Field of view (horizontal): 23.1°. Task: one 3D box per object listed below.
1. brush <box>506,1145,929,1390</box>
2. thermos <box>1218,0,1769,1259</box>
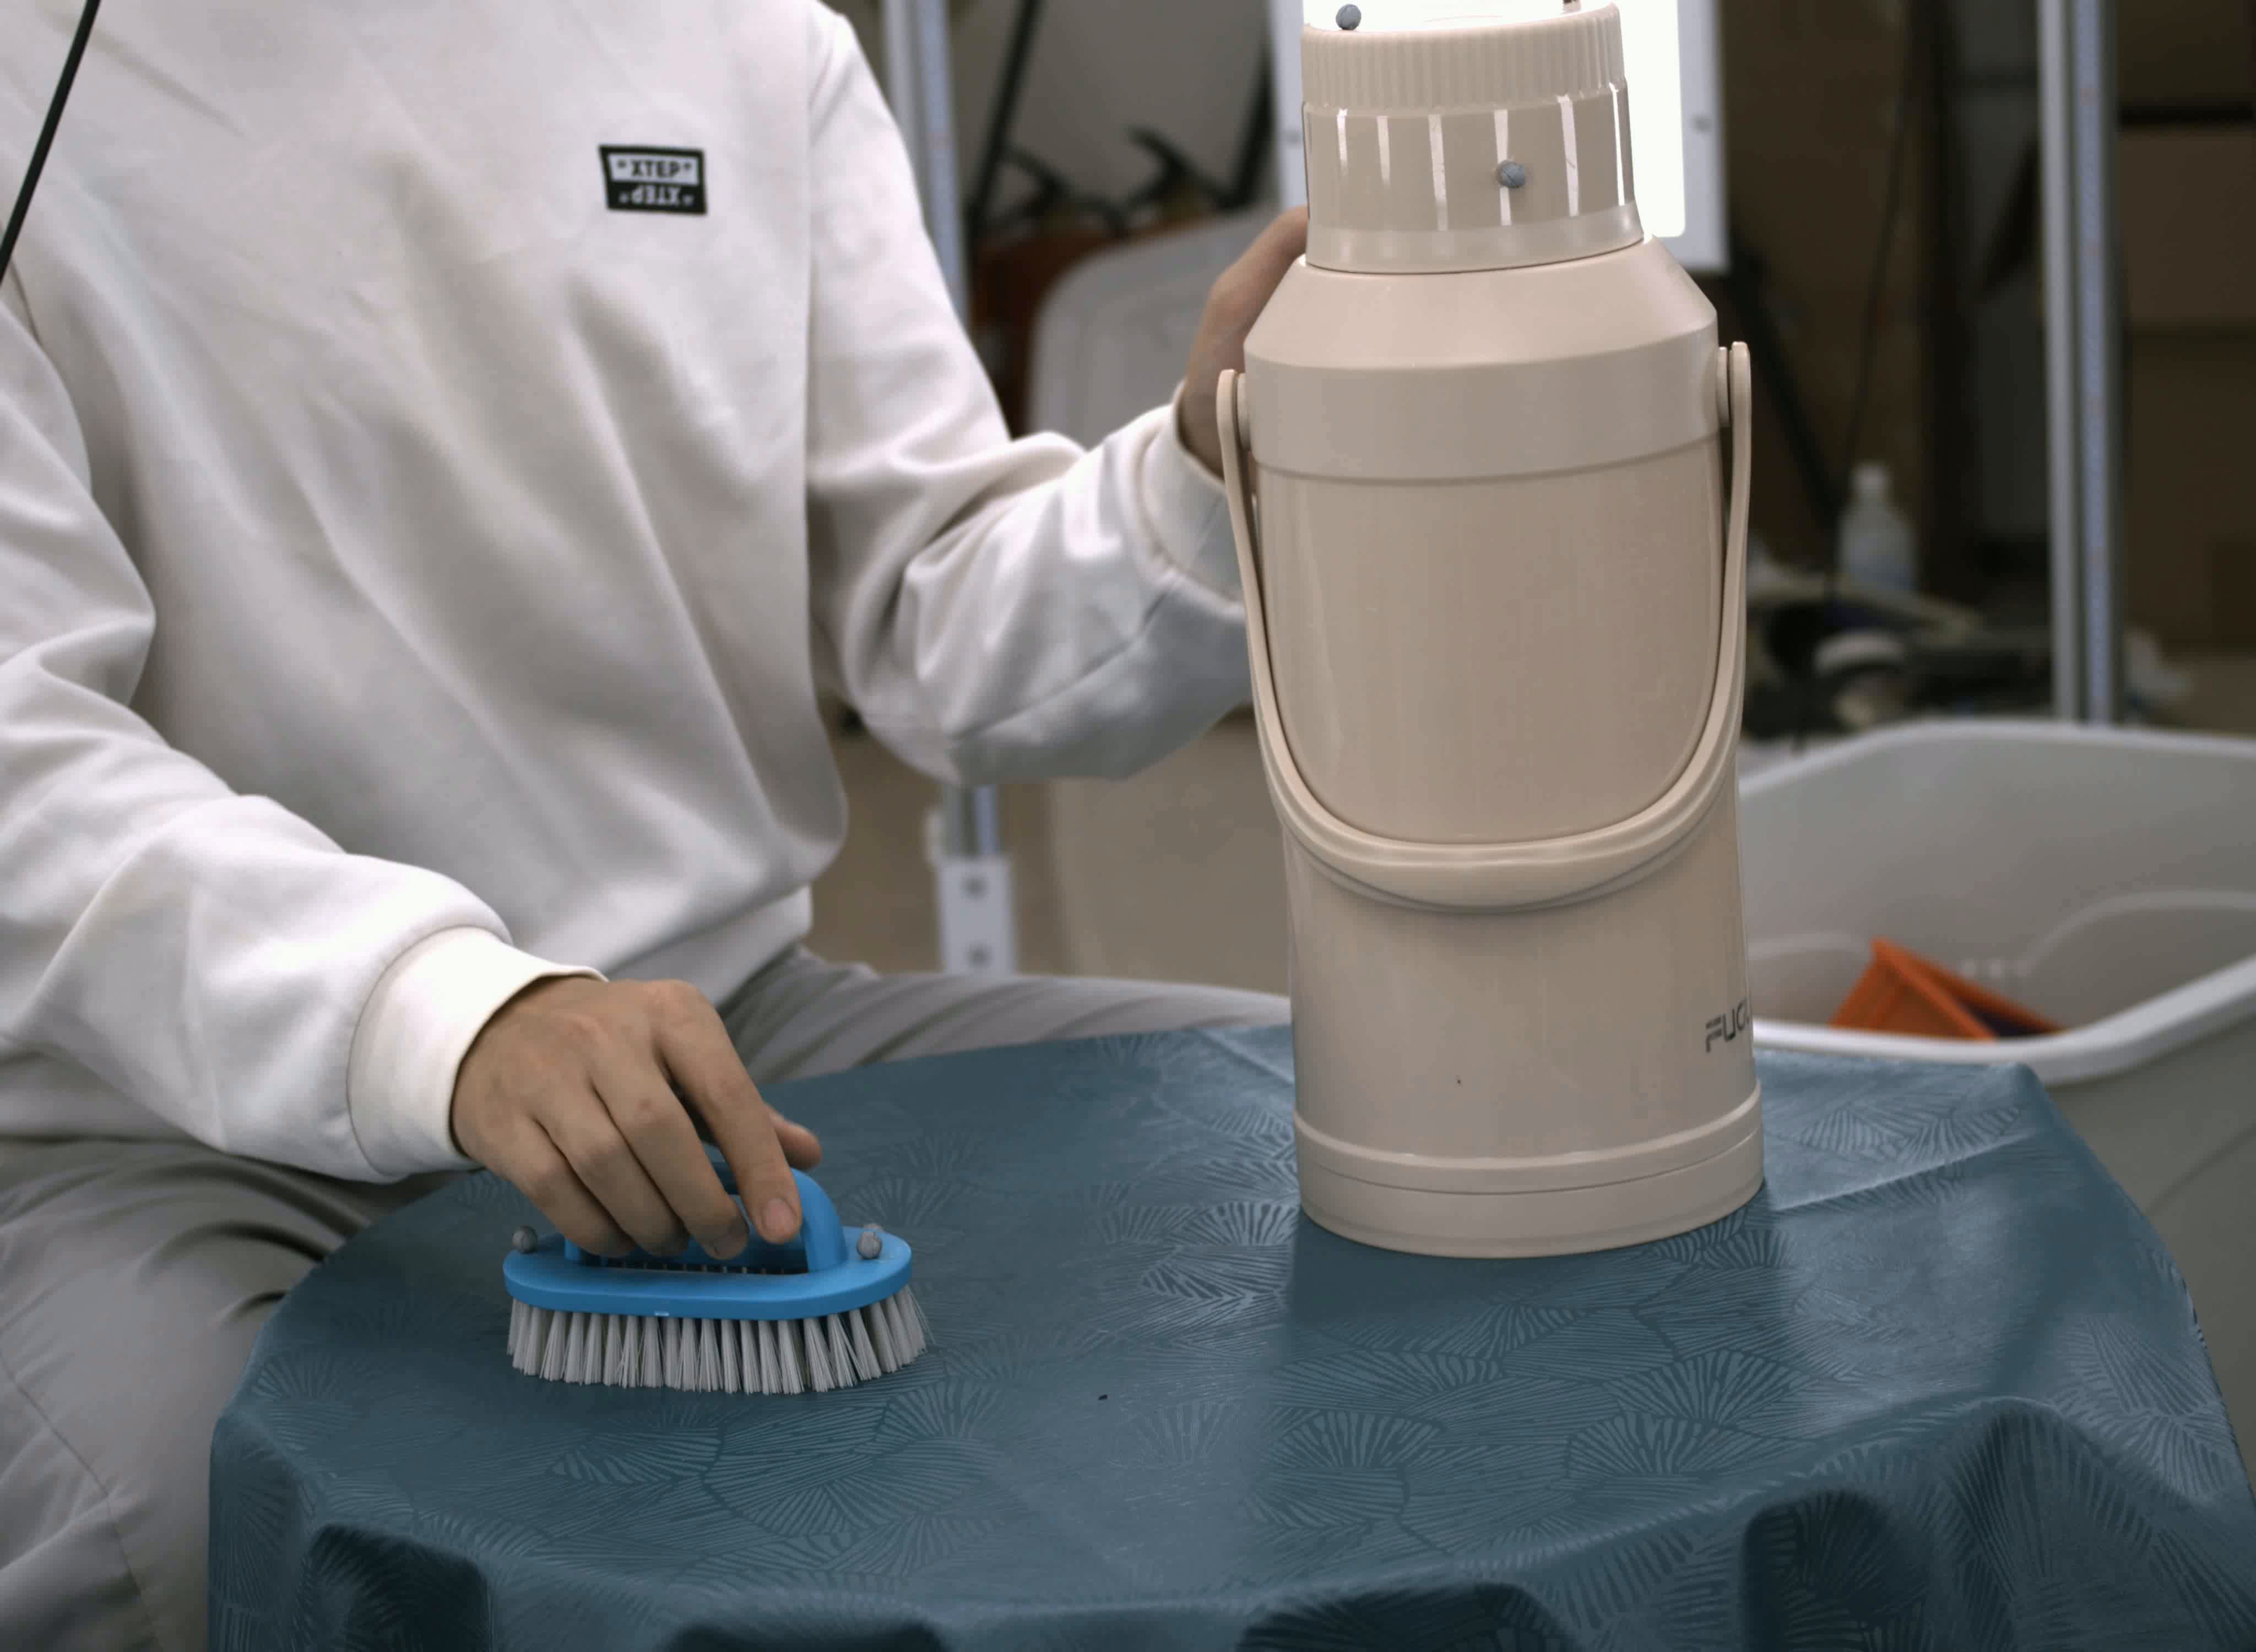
[{"bbox_3d":[-0.135,0.135,1.768,0.144,0.064,0.083,1,19,24],"label":"brush"},{"bbox_3d":[0.127,-0.074,1.833,0.176,0.408,0.205,-4,13,9],"label":"thermos"}]
